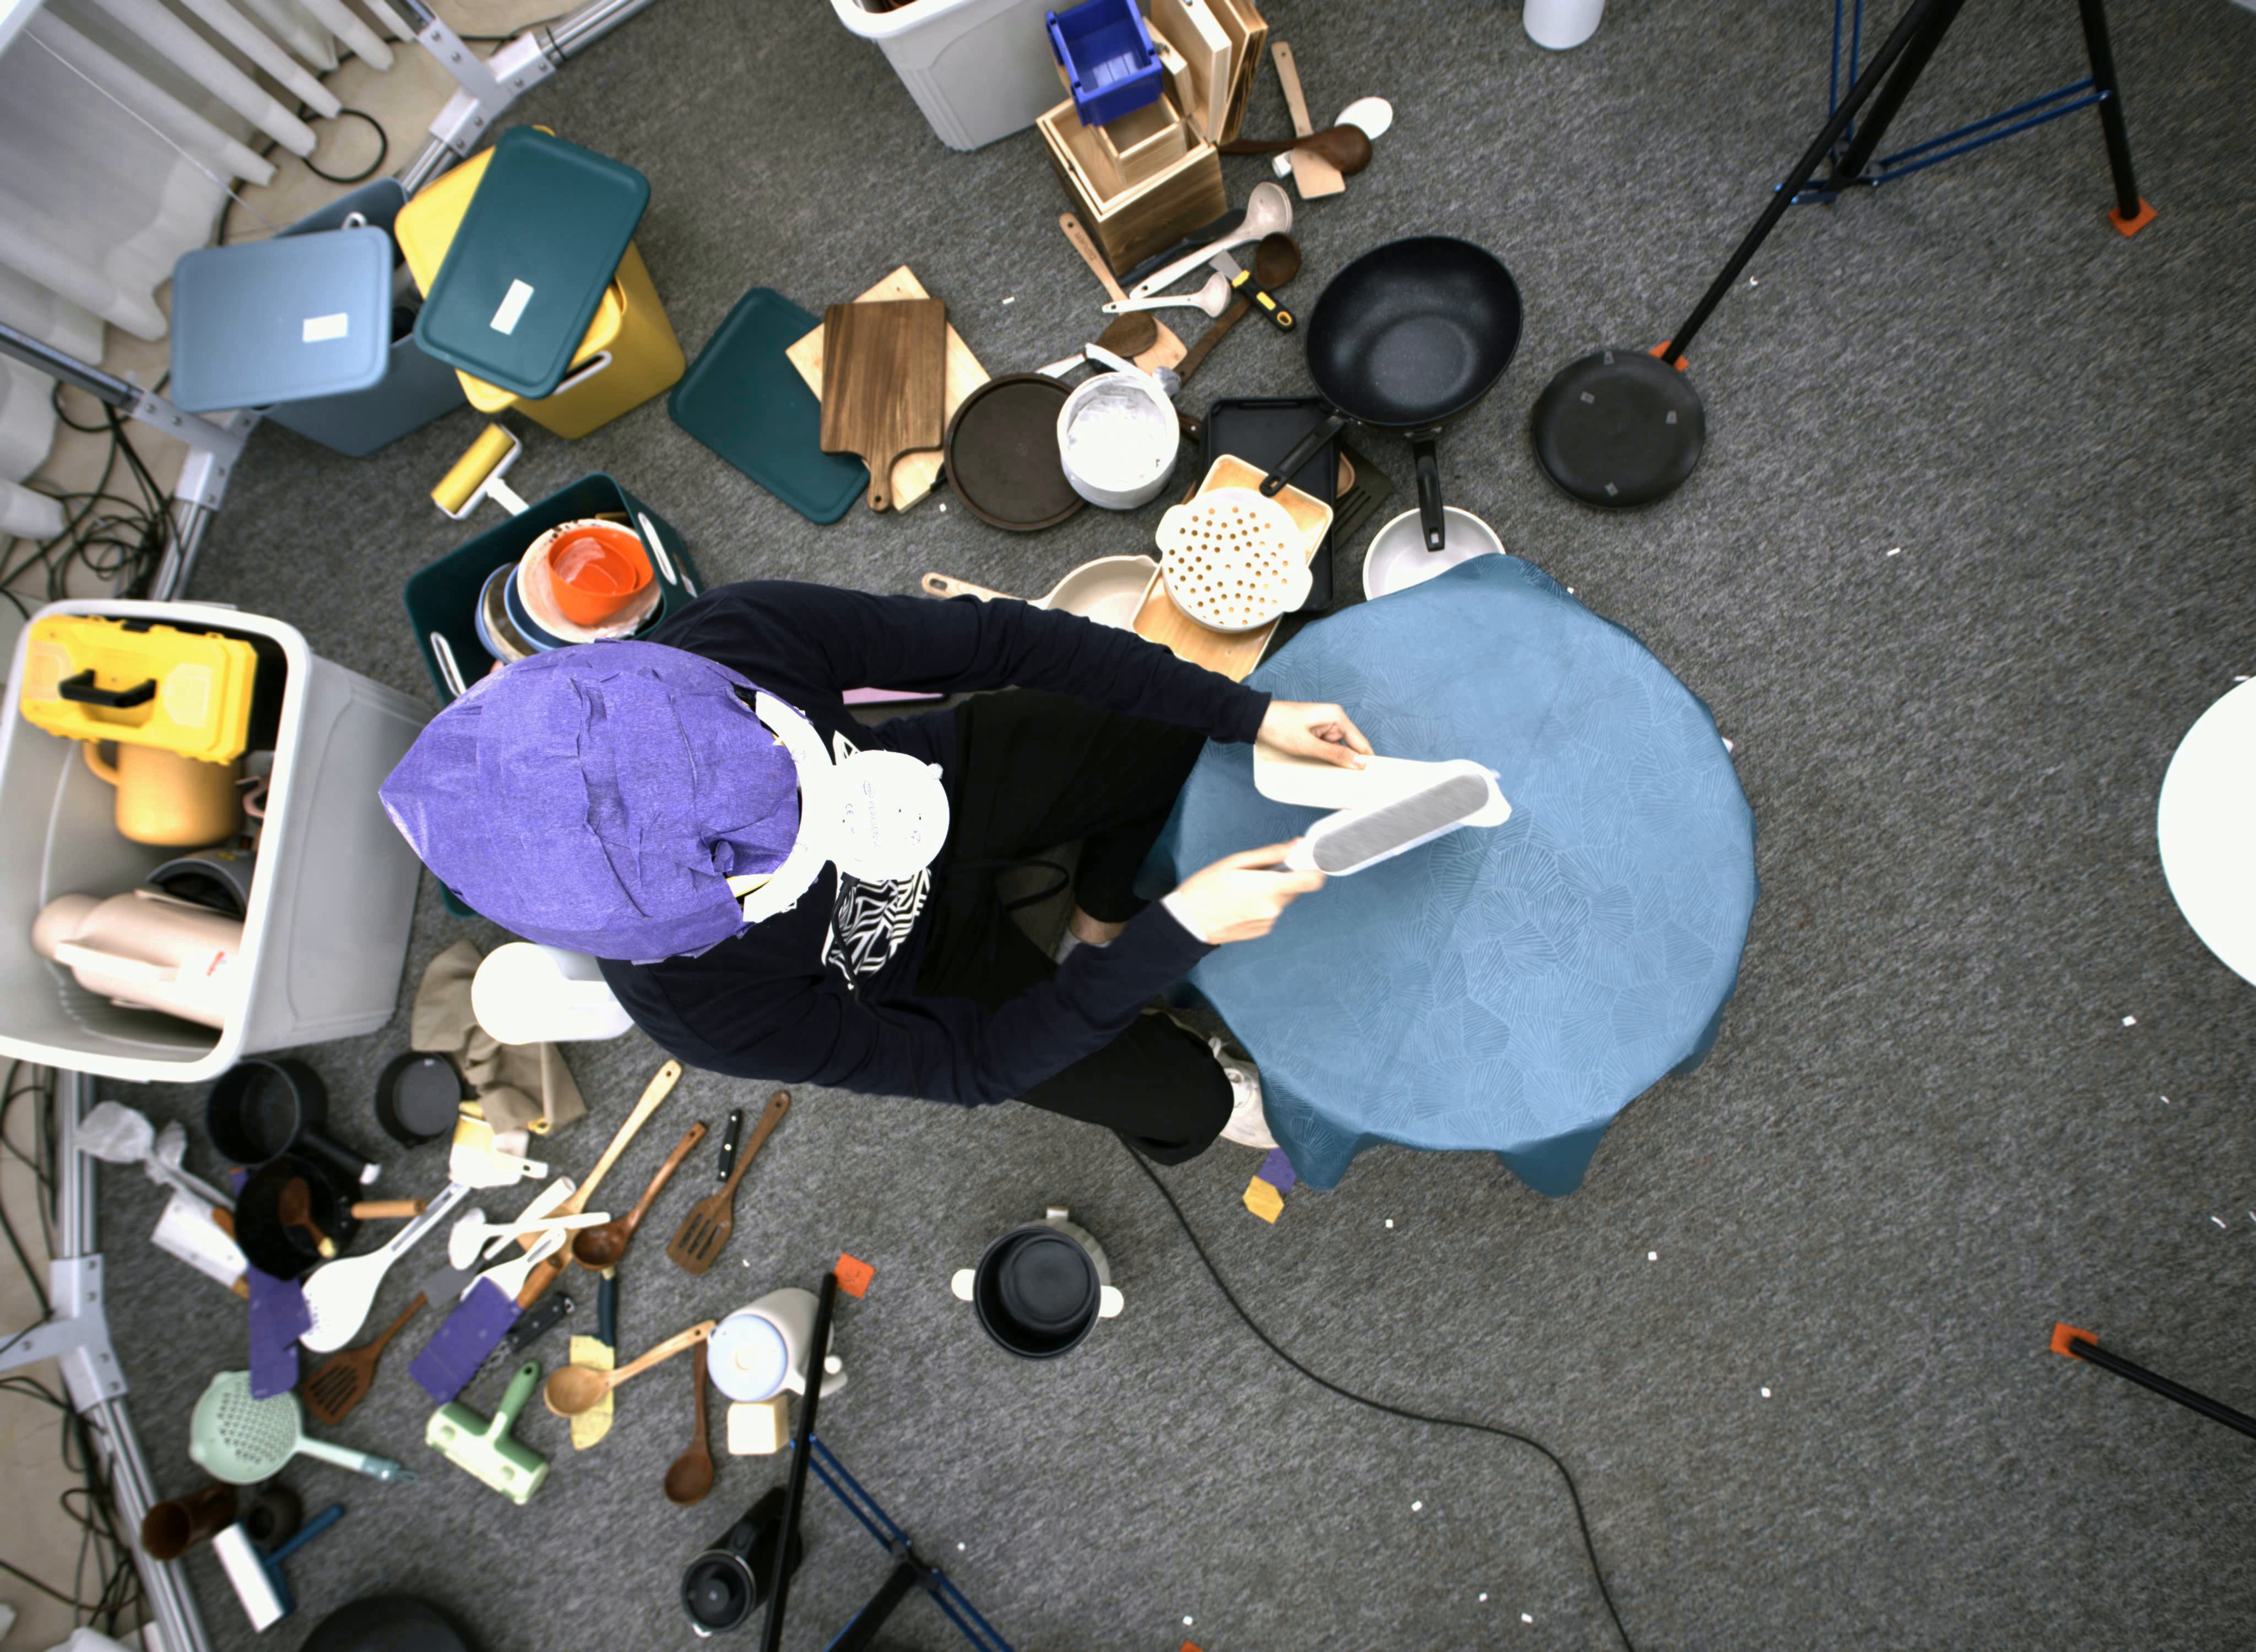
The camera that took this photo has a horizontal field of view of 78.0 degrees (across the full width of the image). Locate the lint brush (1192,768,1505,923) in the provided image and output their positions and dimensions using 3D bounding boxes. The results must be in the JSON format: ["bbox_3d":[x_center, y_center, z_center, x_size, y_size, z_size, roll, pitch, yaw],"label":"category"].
[{"bbox_3d":[0.195,0.022,1.255,0.313,0.020,0.061,-25,124,20],"label":"lint brush"}]

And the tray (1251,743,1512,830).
[{"bbox_3d":[0.237,-0.040,1.321,0.240,0.168,0.018,7,109,2],"label":"tray"}]
